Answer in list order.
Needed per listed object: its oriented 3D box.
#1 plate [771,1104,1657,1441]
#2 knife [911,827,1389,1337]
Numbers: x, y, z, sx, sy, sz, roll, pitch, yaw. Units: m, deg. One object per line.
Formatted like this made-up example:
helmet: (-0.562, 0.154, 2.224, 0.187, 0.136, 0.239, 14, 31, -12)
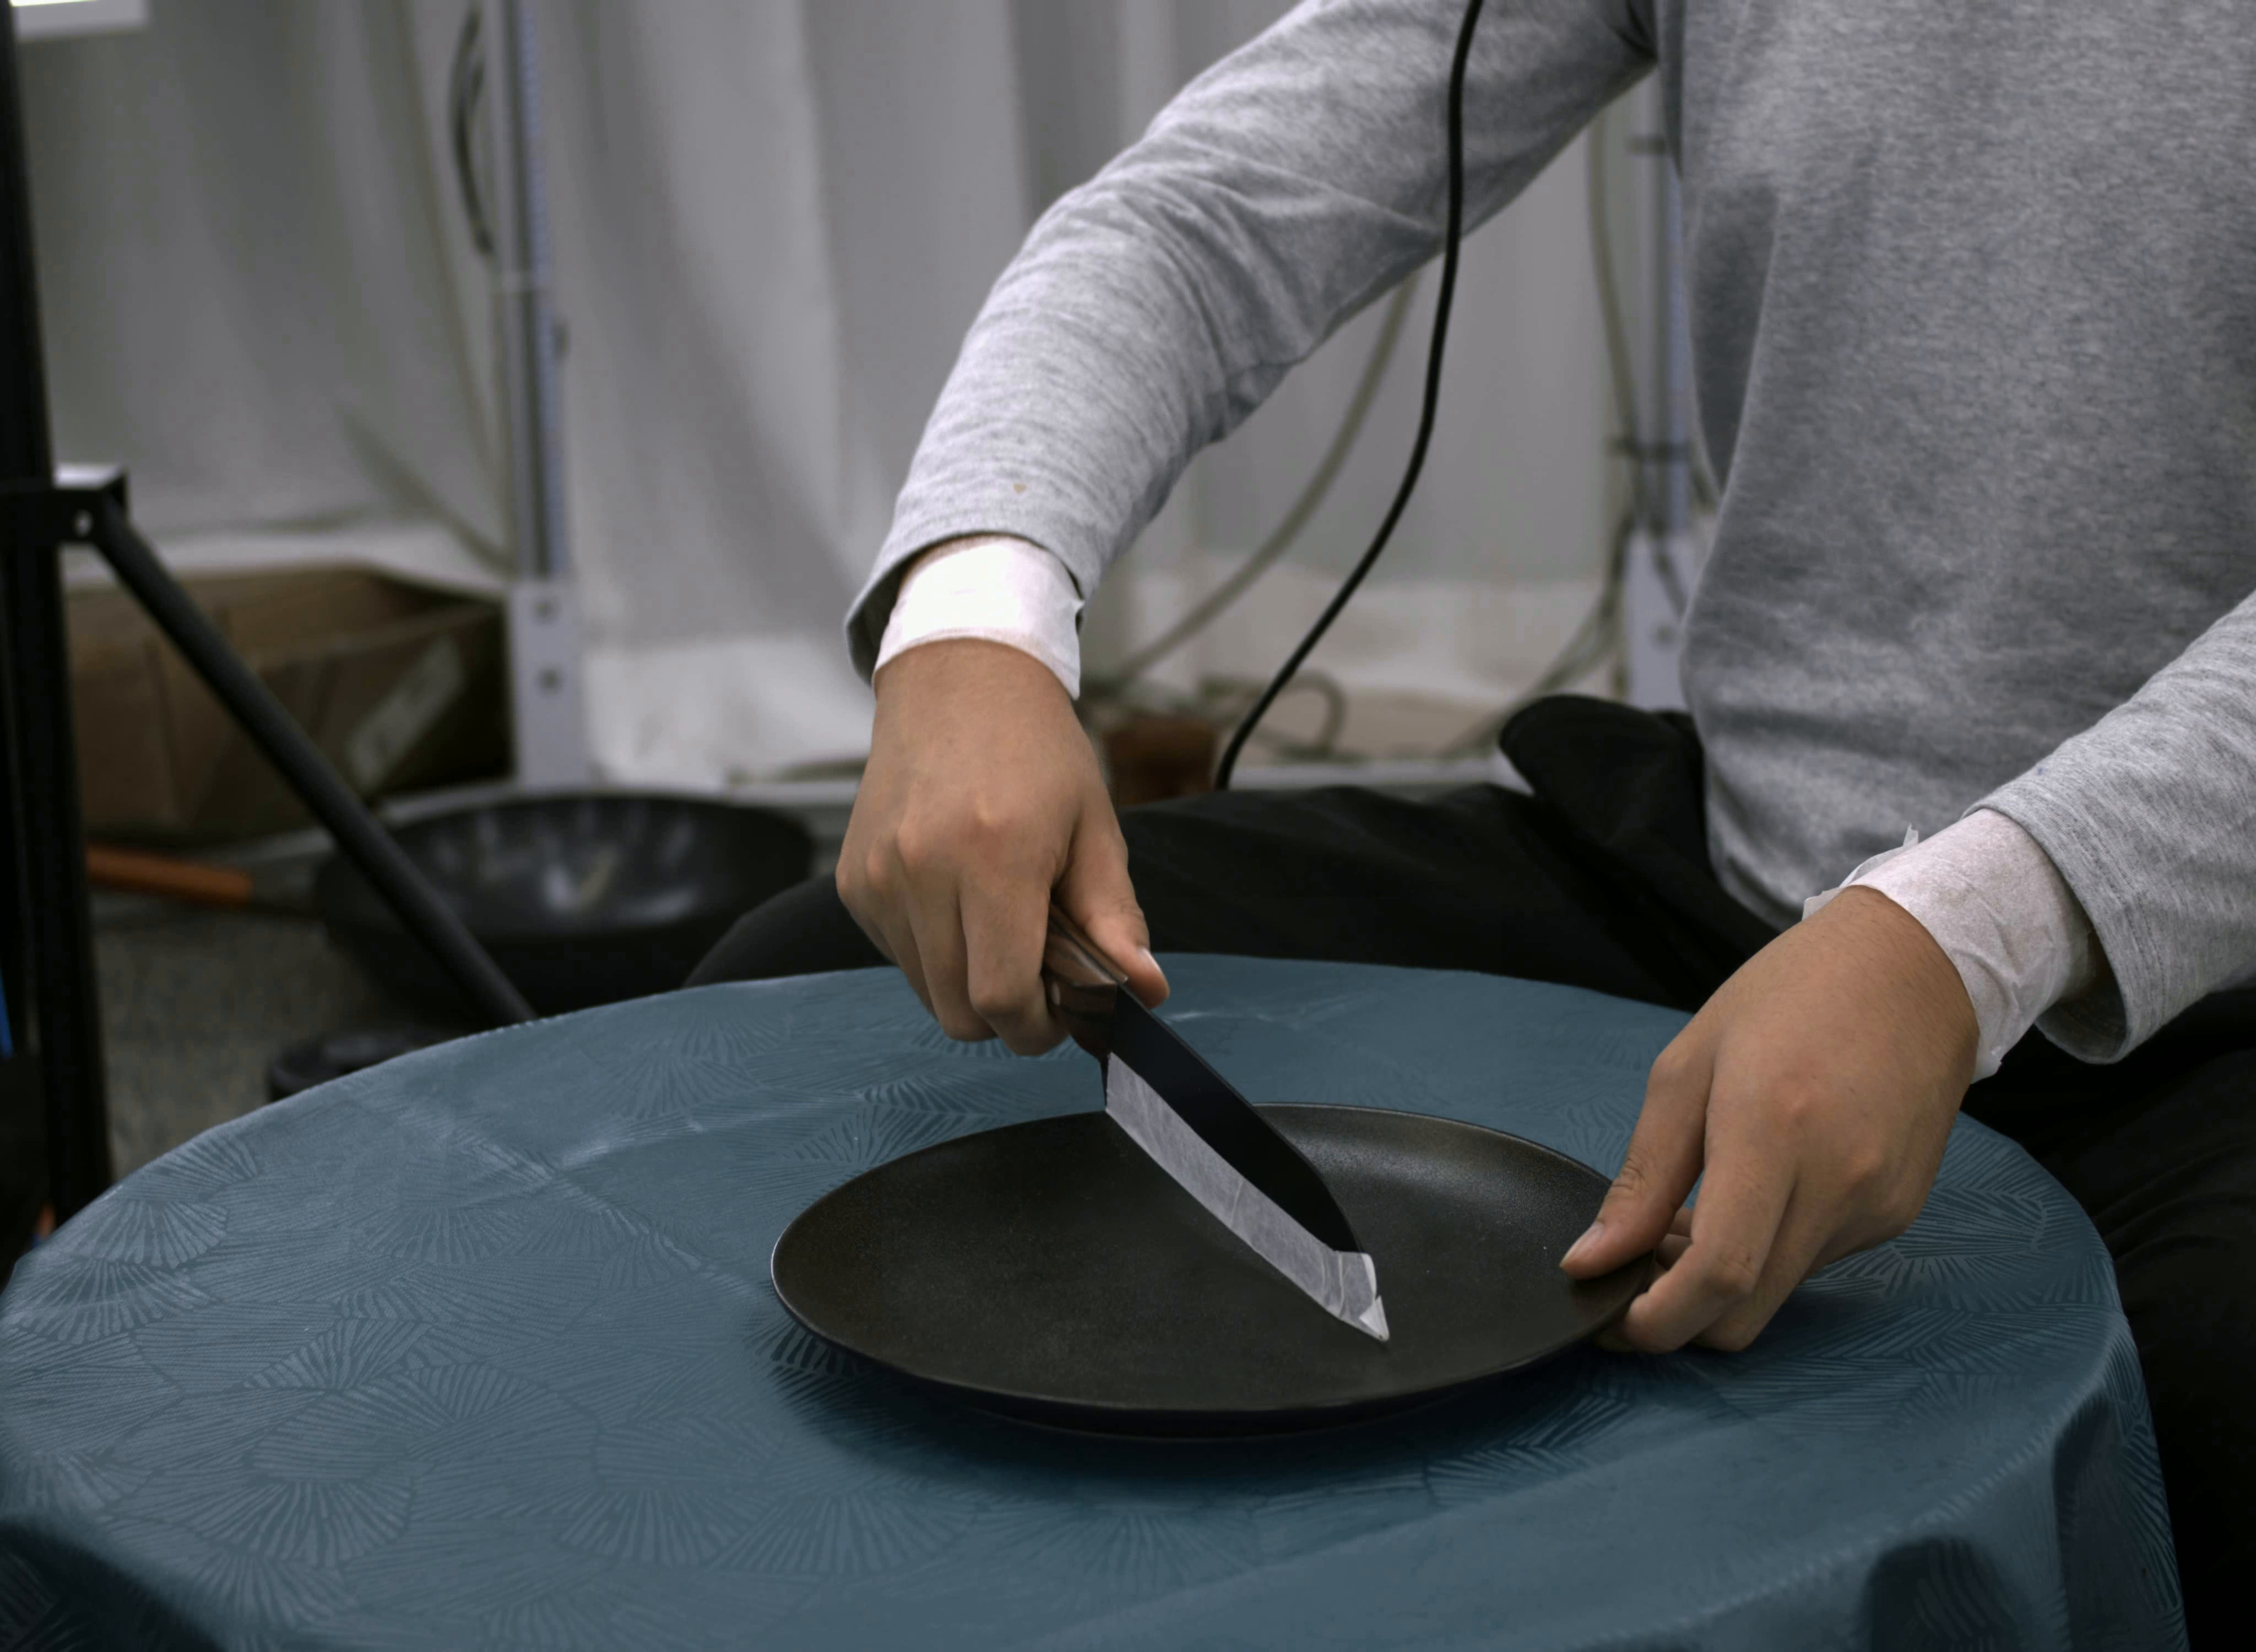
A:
plate: (0.024, 0.125, 1.457, 0.243, 0.023, 0.245, -3, 15, -1)
knife: (0.005, 0.069, 1.521, 0.019, 0.050, 0.295, -11, 30, -24)
